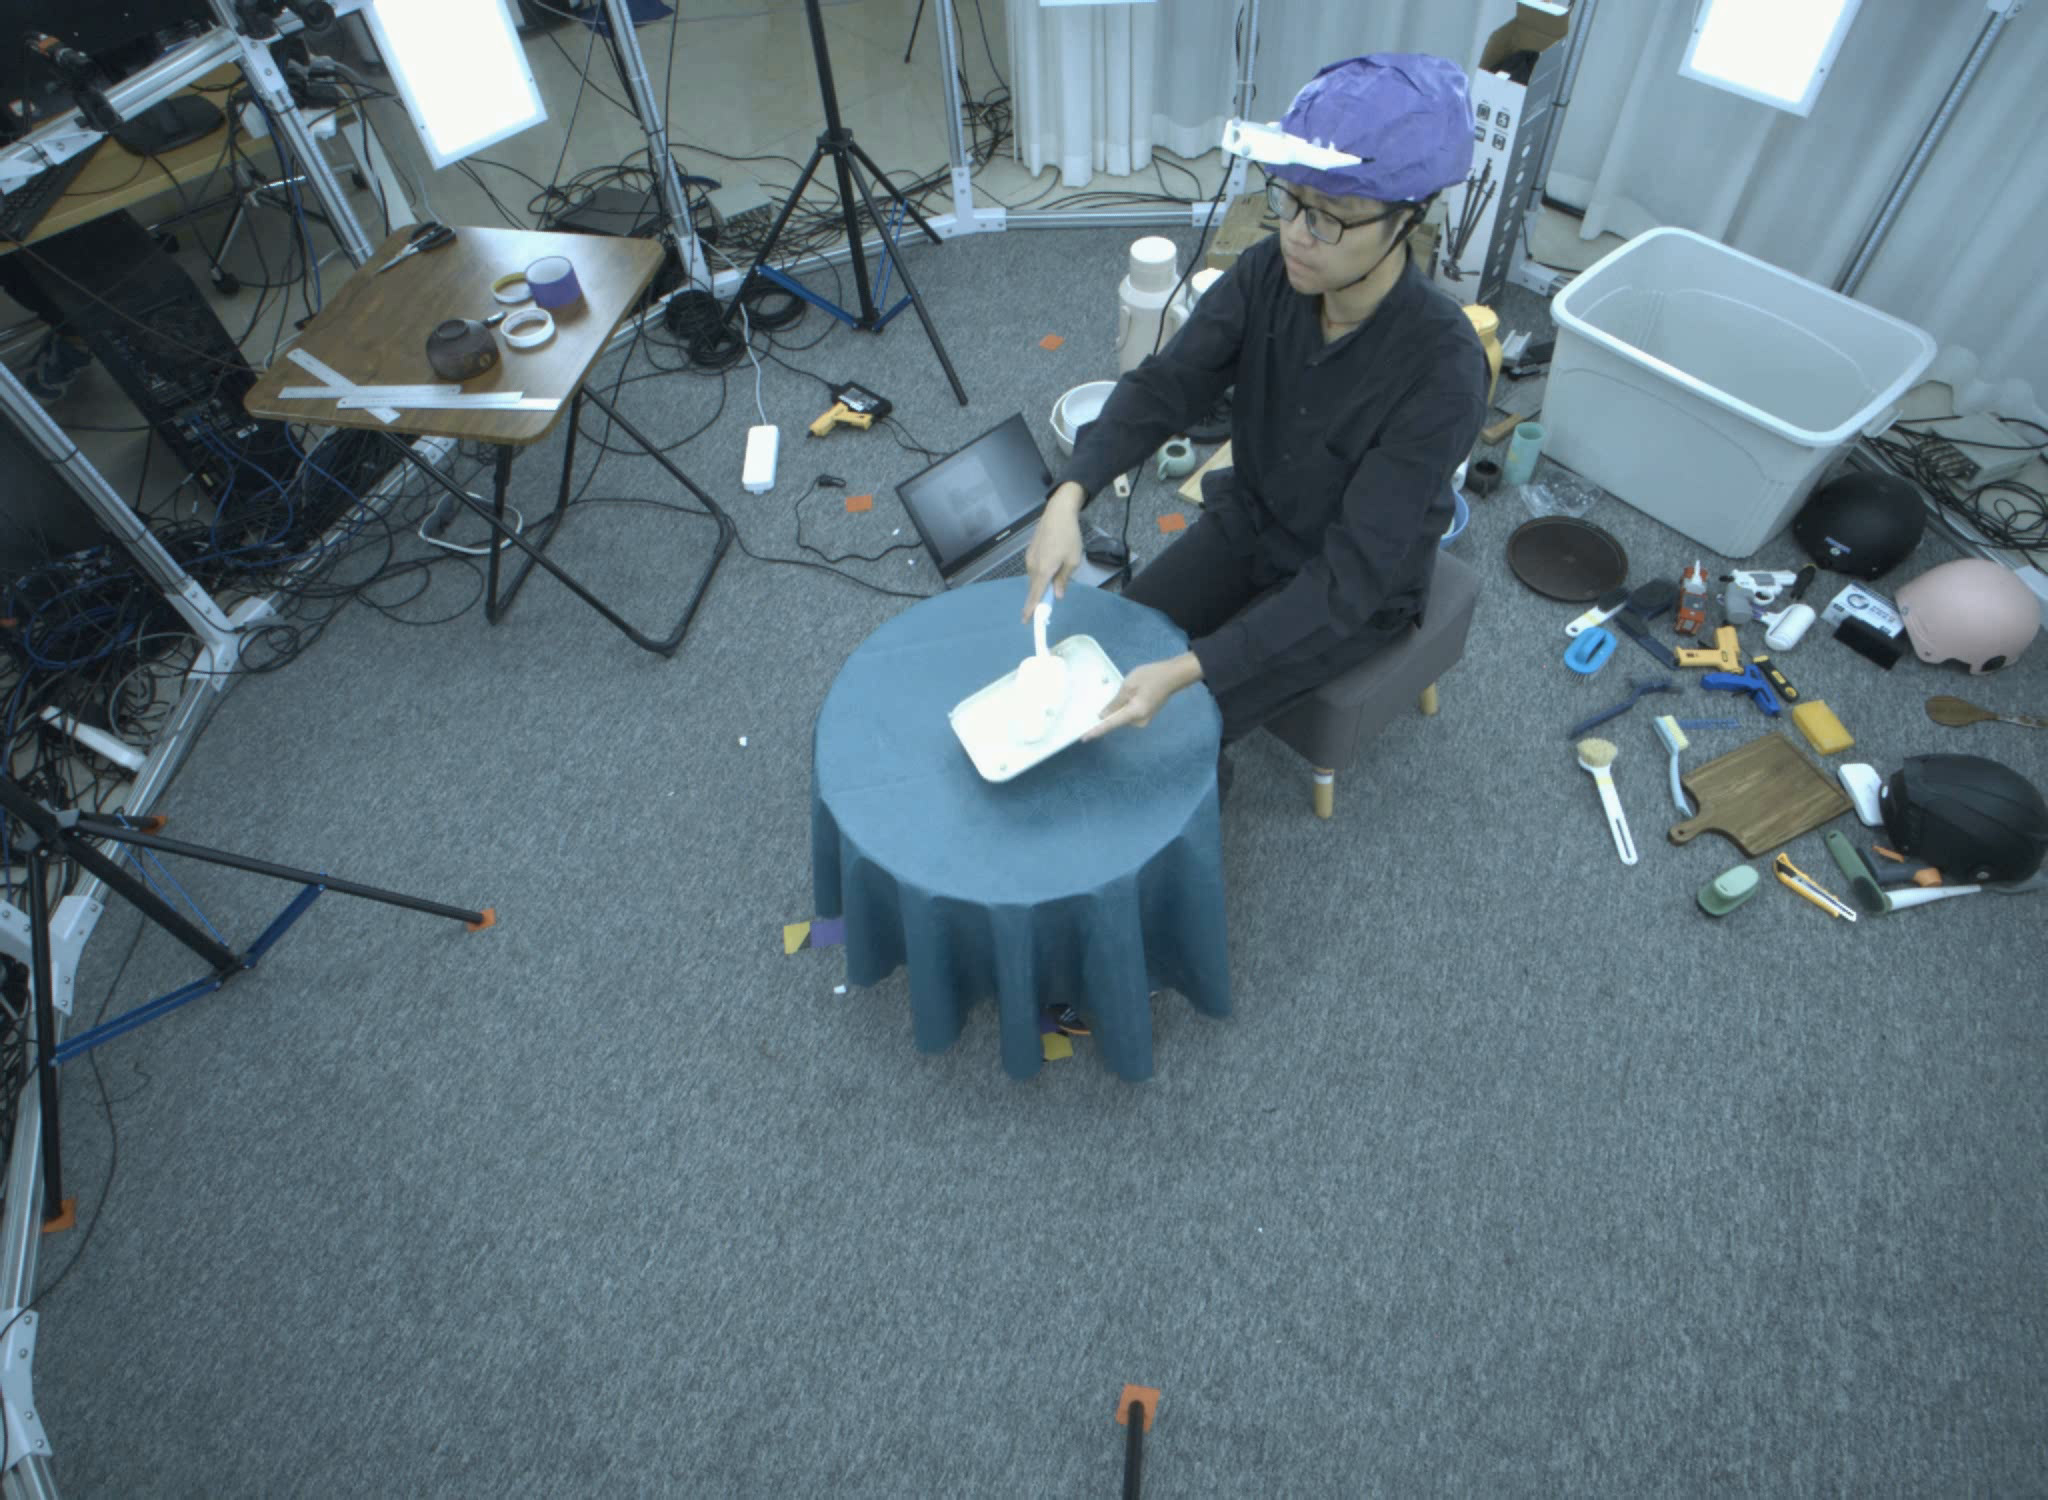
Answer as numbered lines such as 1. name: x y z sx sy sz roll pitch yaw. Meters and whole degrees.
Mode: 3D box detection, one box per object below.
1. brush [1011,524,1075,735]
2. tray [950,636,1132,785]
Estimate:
1. brush: 0.042 -0.169 1.752 0.084 0.084 0.324 15 71 -11
2. tray: 0.023 -0.055 1.725 0.240 0.018 0.168 -31 50 -3
